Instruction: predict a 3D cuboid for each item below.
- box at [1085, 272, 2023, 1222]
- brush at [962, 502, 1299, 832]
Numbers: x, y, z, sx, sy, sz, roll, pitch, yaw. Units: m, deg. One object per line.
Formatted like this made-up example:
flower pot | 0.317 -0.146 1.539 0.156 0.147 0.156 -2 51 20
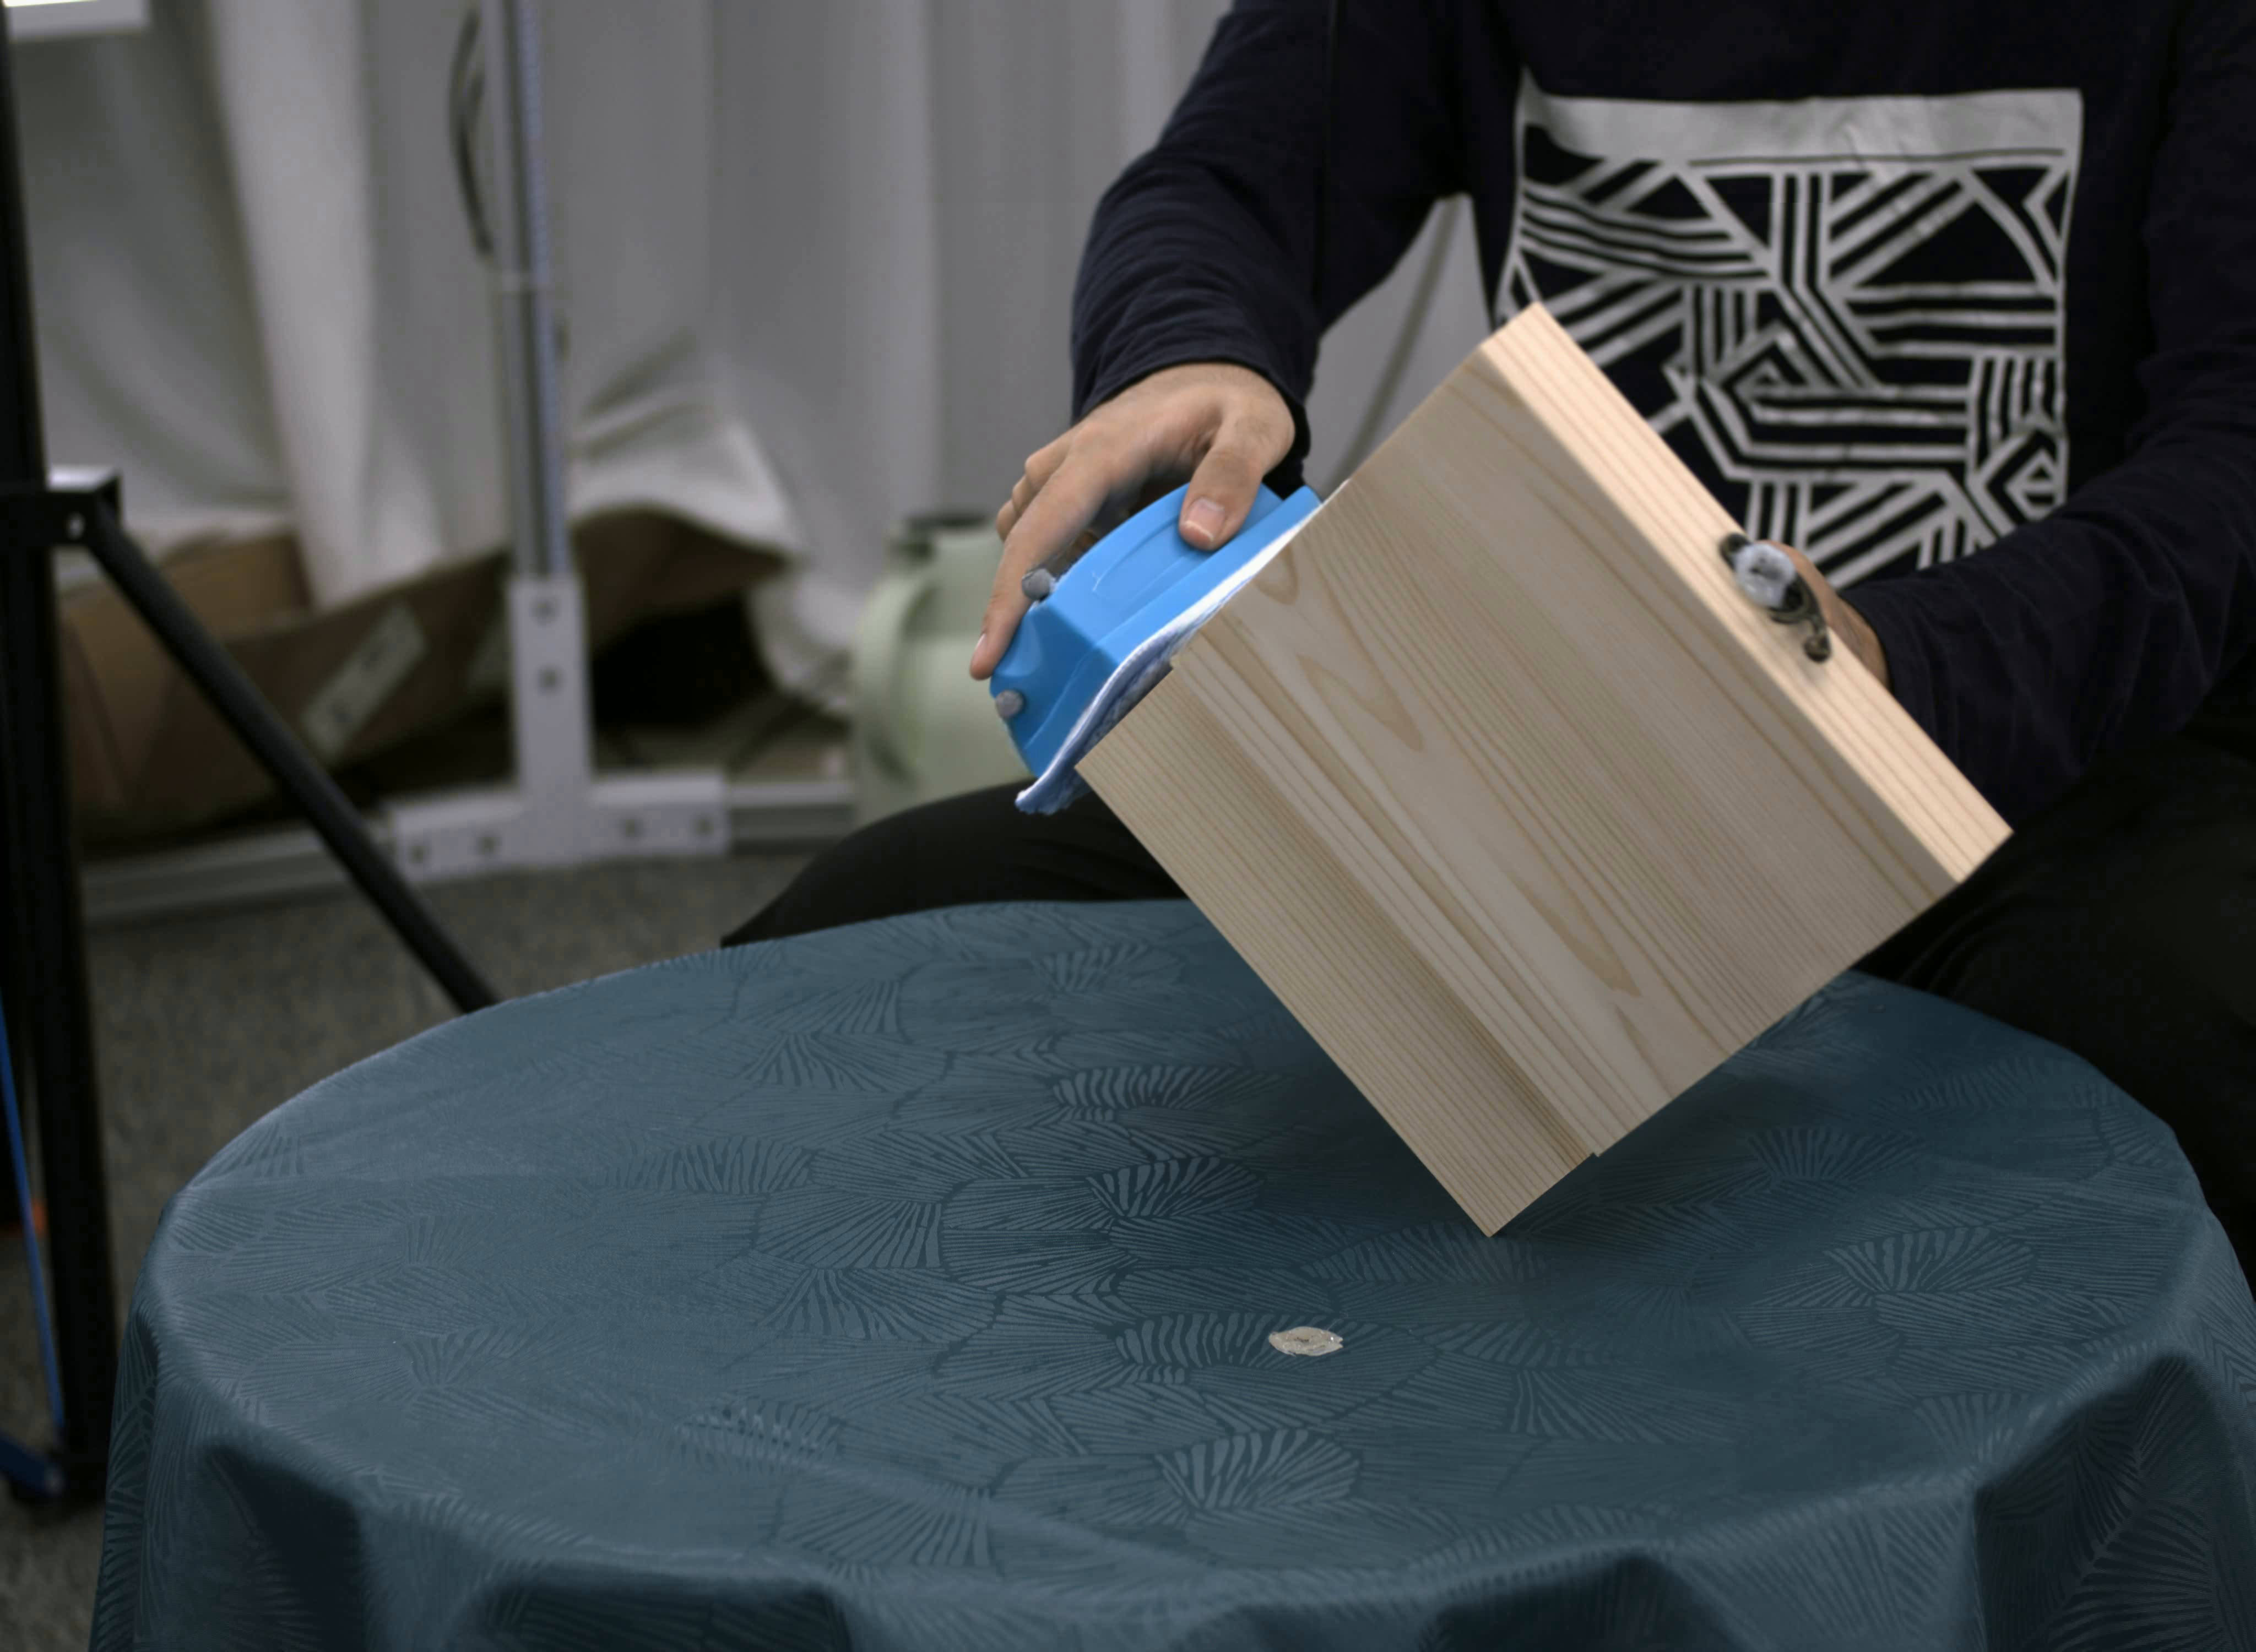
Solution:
box | 0.142 -0.044 1.483 0.256 0.182 0.261 -46 -4 38
brush | -0.003 -0.052 1.595 0.085 0.056 0.142 -40 1 35
